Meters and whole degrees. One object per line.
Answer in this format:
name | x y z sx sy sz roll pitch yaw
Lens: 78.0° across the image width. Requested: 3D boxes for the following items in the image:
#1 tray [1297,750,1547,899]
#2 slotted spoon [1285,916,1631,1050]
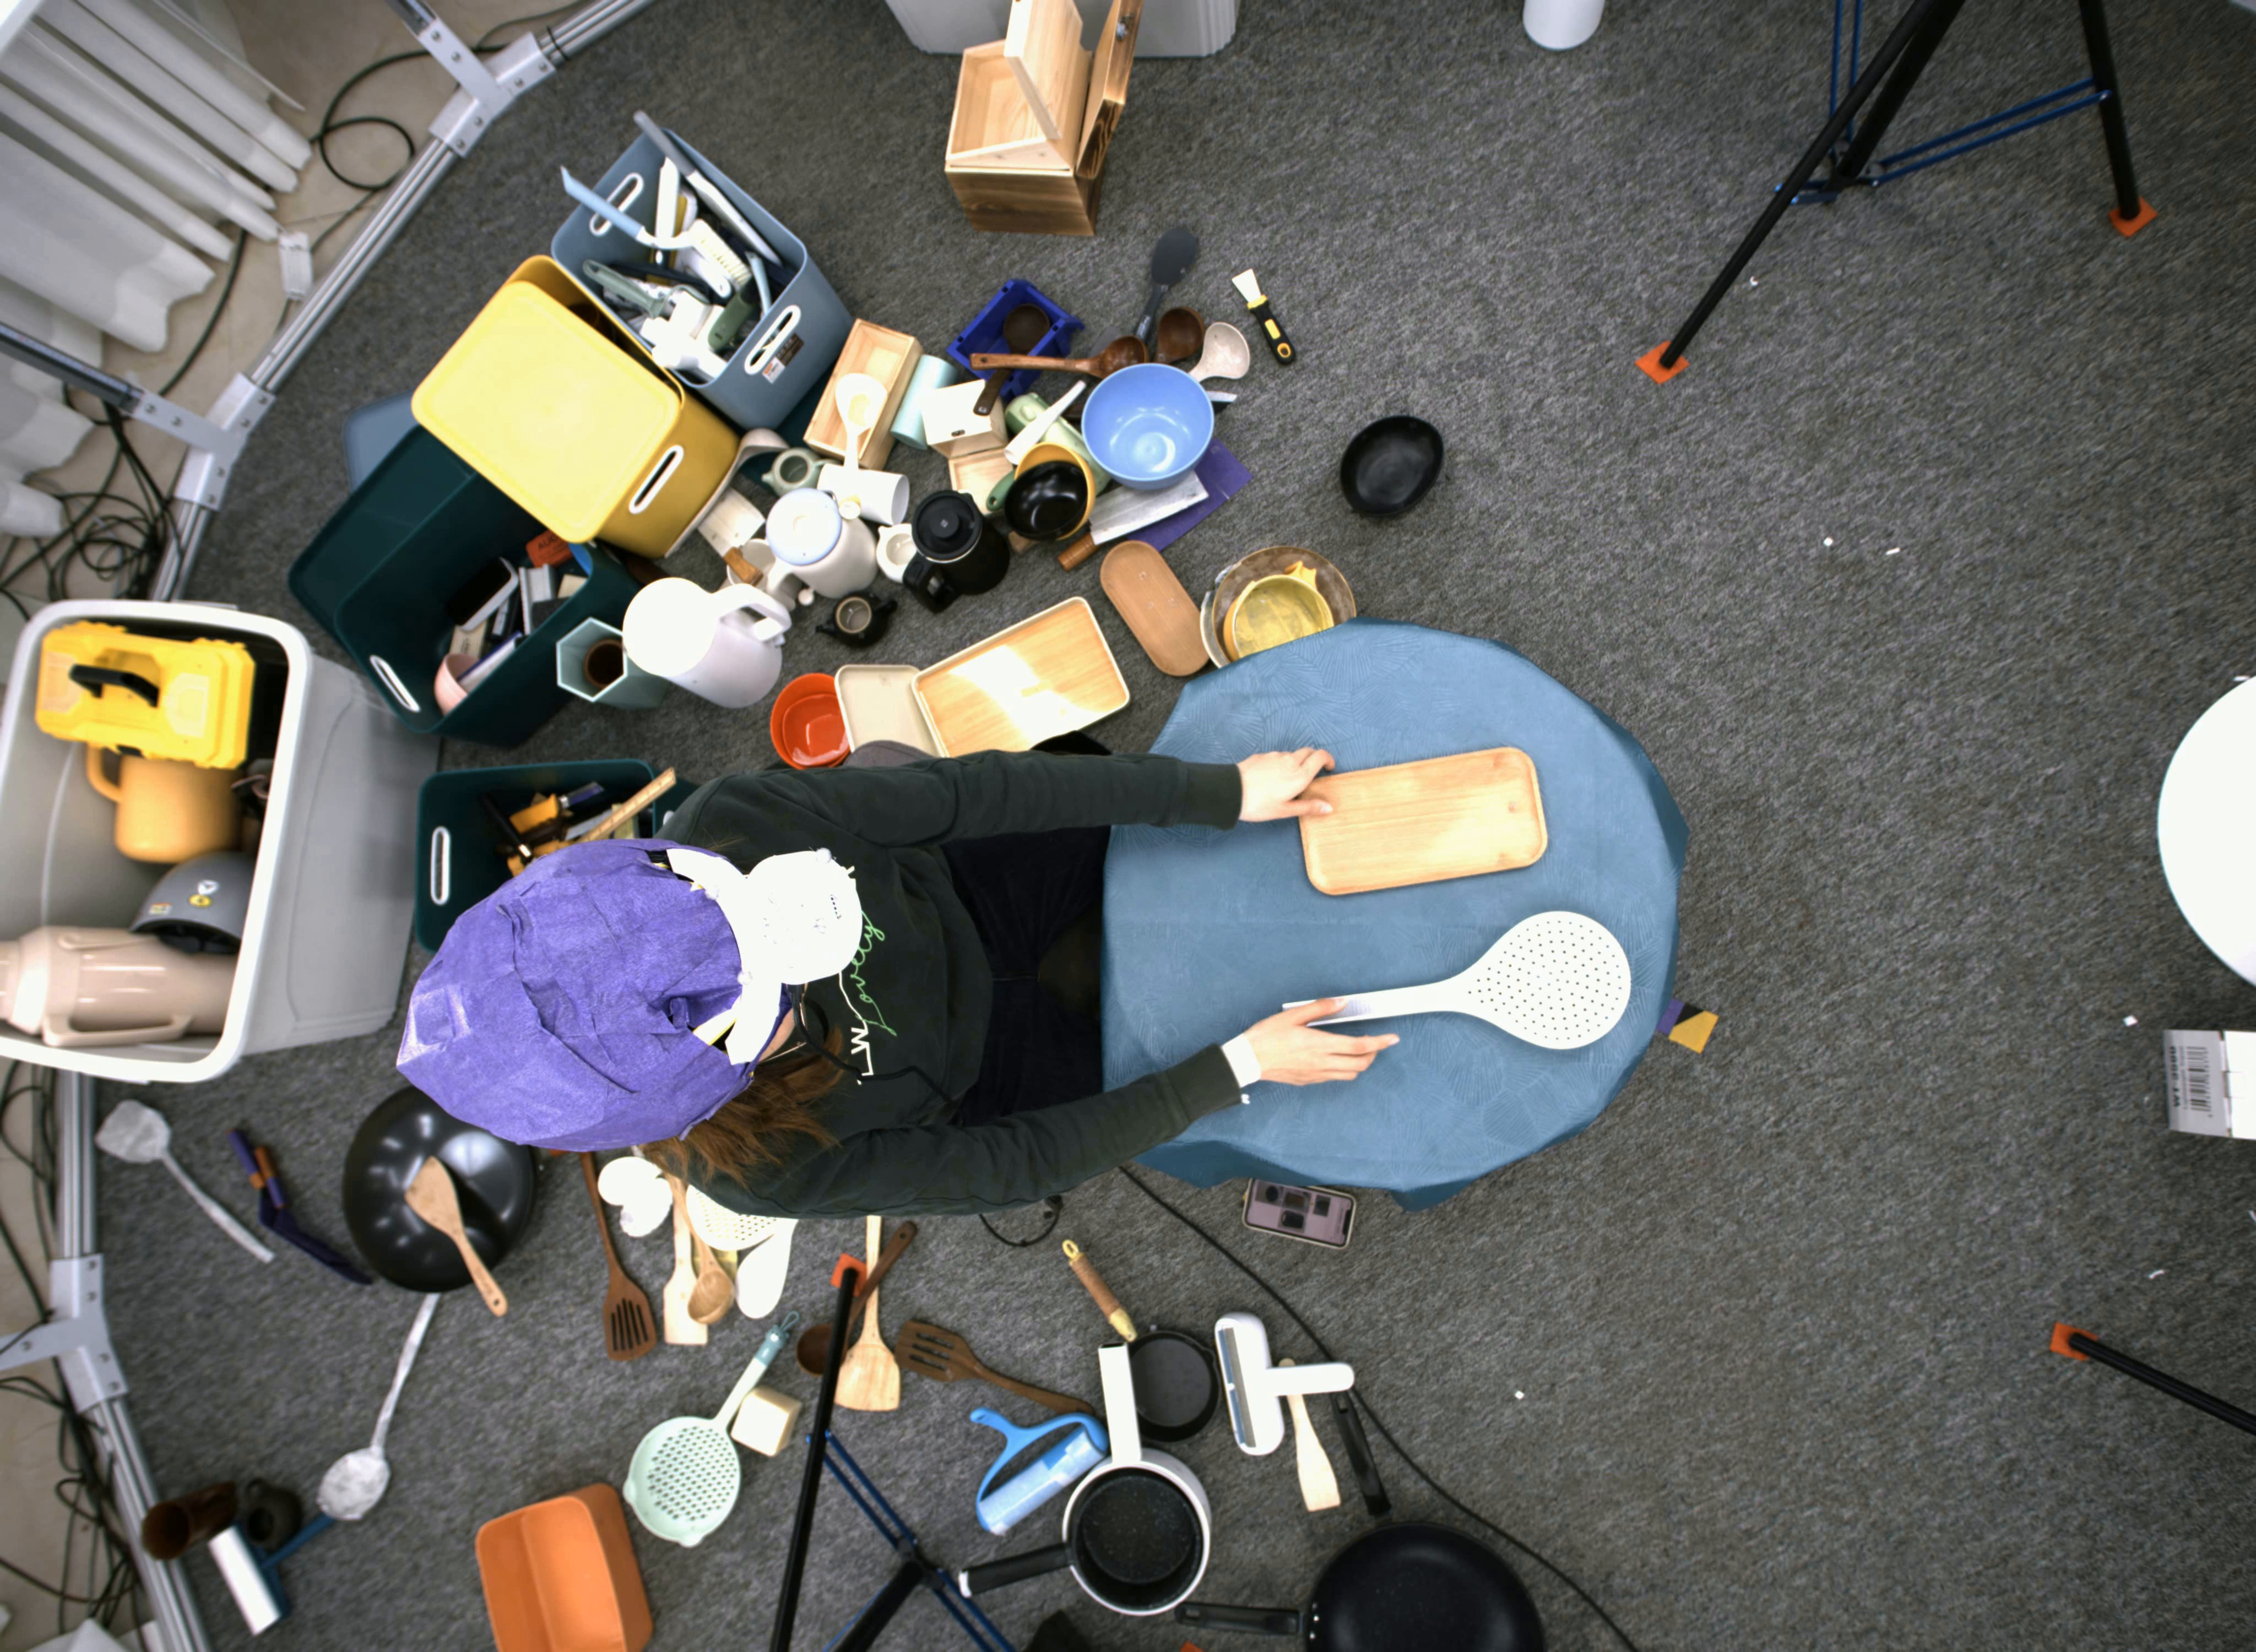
tray | 0.309 -0.003 1.454 0.252 0.023 0.129 -9 83 10
slotted spoon | 0.335 0.174 1.423 0.351 0.046 0.135 -9 82 10
